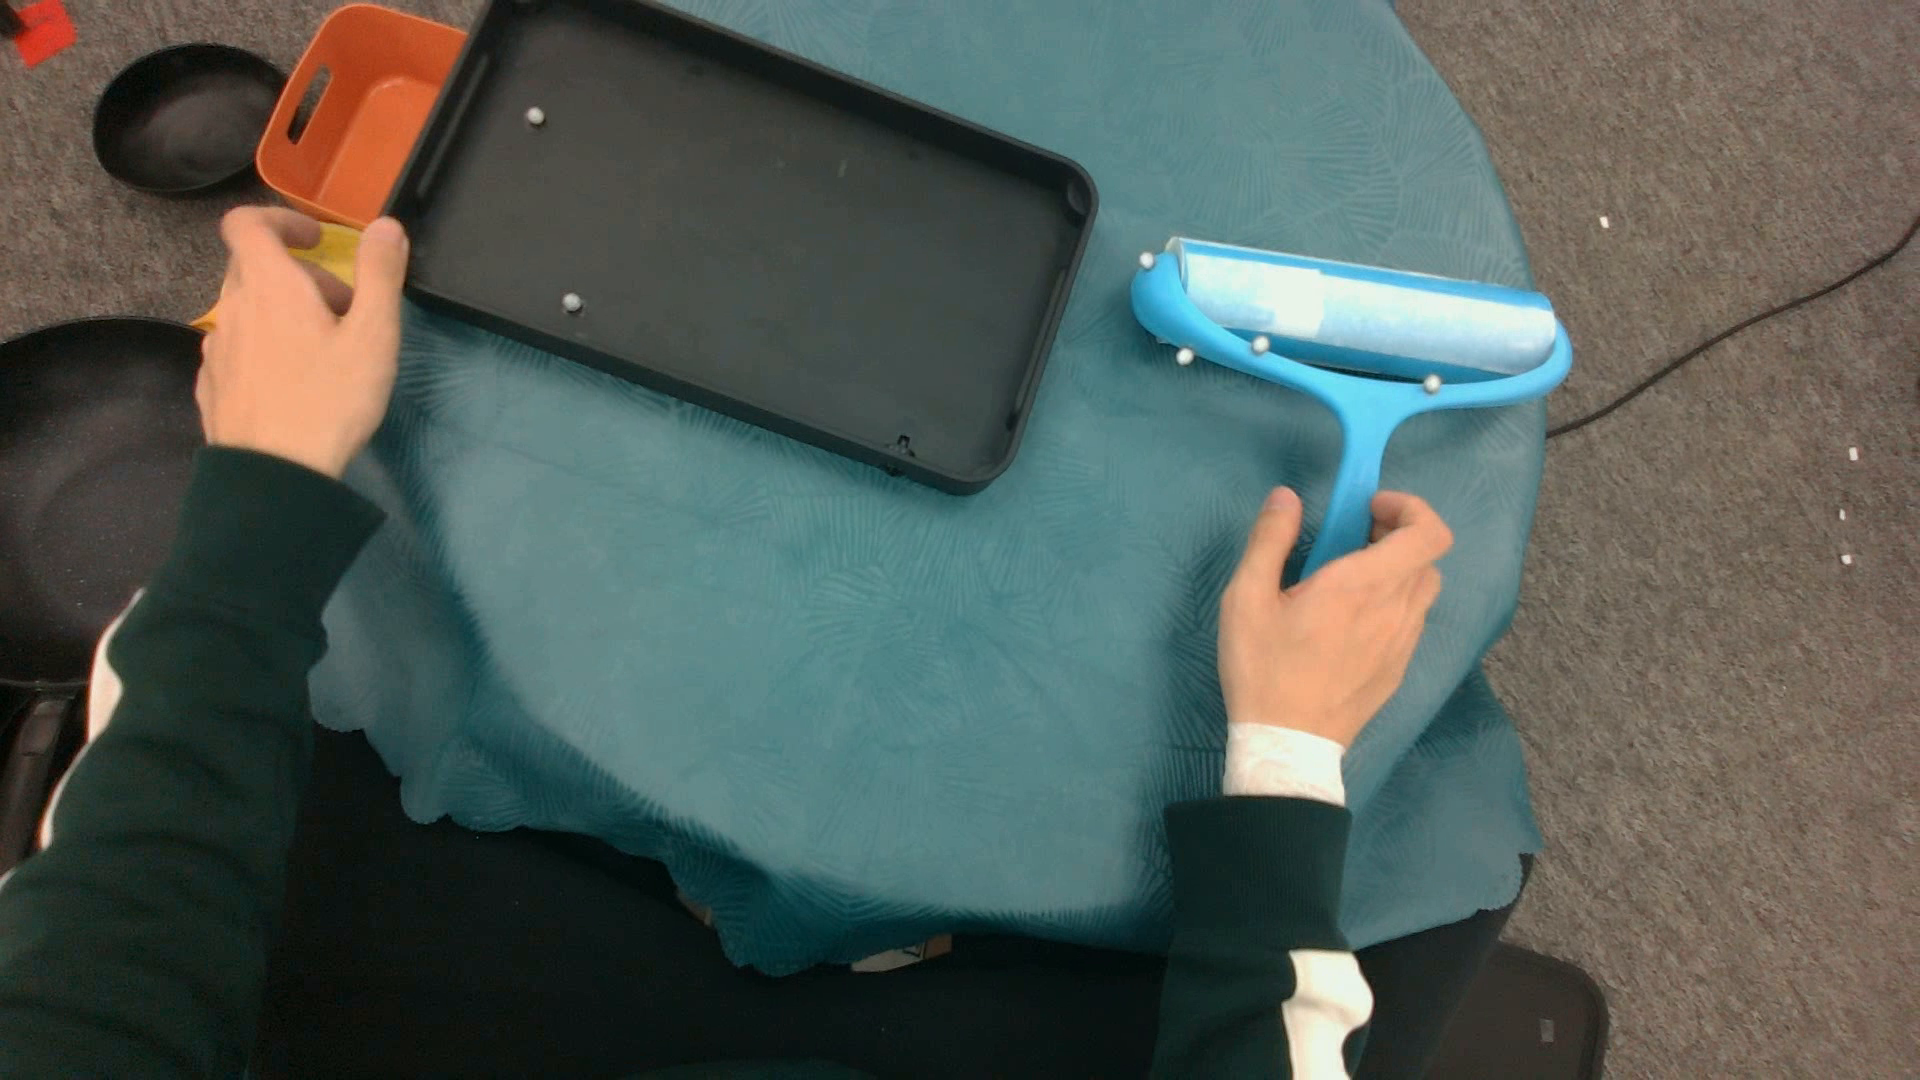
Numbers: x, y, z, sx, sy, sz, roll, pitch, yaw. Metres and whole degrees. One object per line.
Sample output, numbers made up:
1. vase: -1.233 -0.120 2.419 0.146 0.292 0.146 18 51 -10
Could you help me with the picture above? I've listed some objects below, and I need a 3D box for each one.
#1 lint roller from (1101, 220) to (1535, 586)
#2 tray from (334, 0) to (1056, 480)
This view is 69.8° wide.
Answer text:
1. lint roller: 0.185 -0.071 0.698 0.229 0.067 0.180 4 74 -10
2. tray: -0.123 -0.155 0.685 0.318 0.037 0.185 17 75 -5
